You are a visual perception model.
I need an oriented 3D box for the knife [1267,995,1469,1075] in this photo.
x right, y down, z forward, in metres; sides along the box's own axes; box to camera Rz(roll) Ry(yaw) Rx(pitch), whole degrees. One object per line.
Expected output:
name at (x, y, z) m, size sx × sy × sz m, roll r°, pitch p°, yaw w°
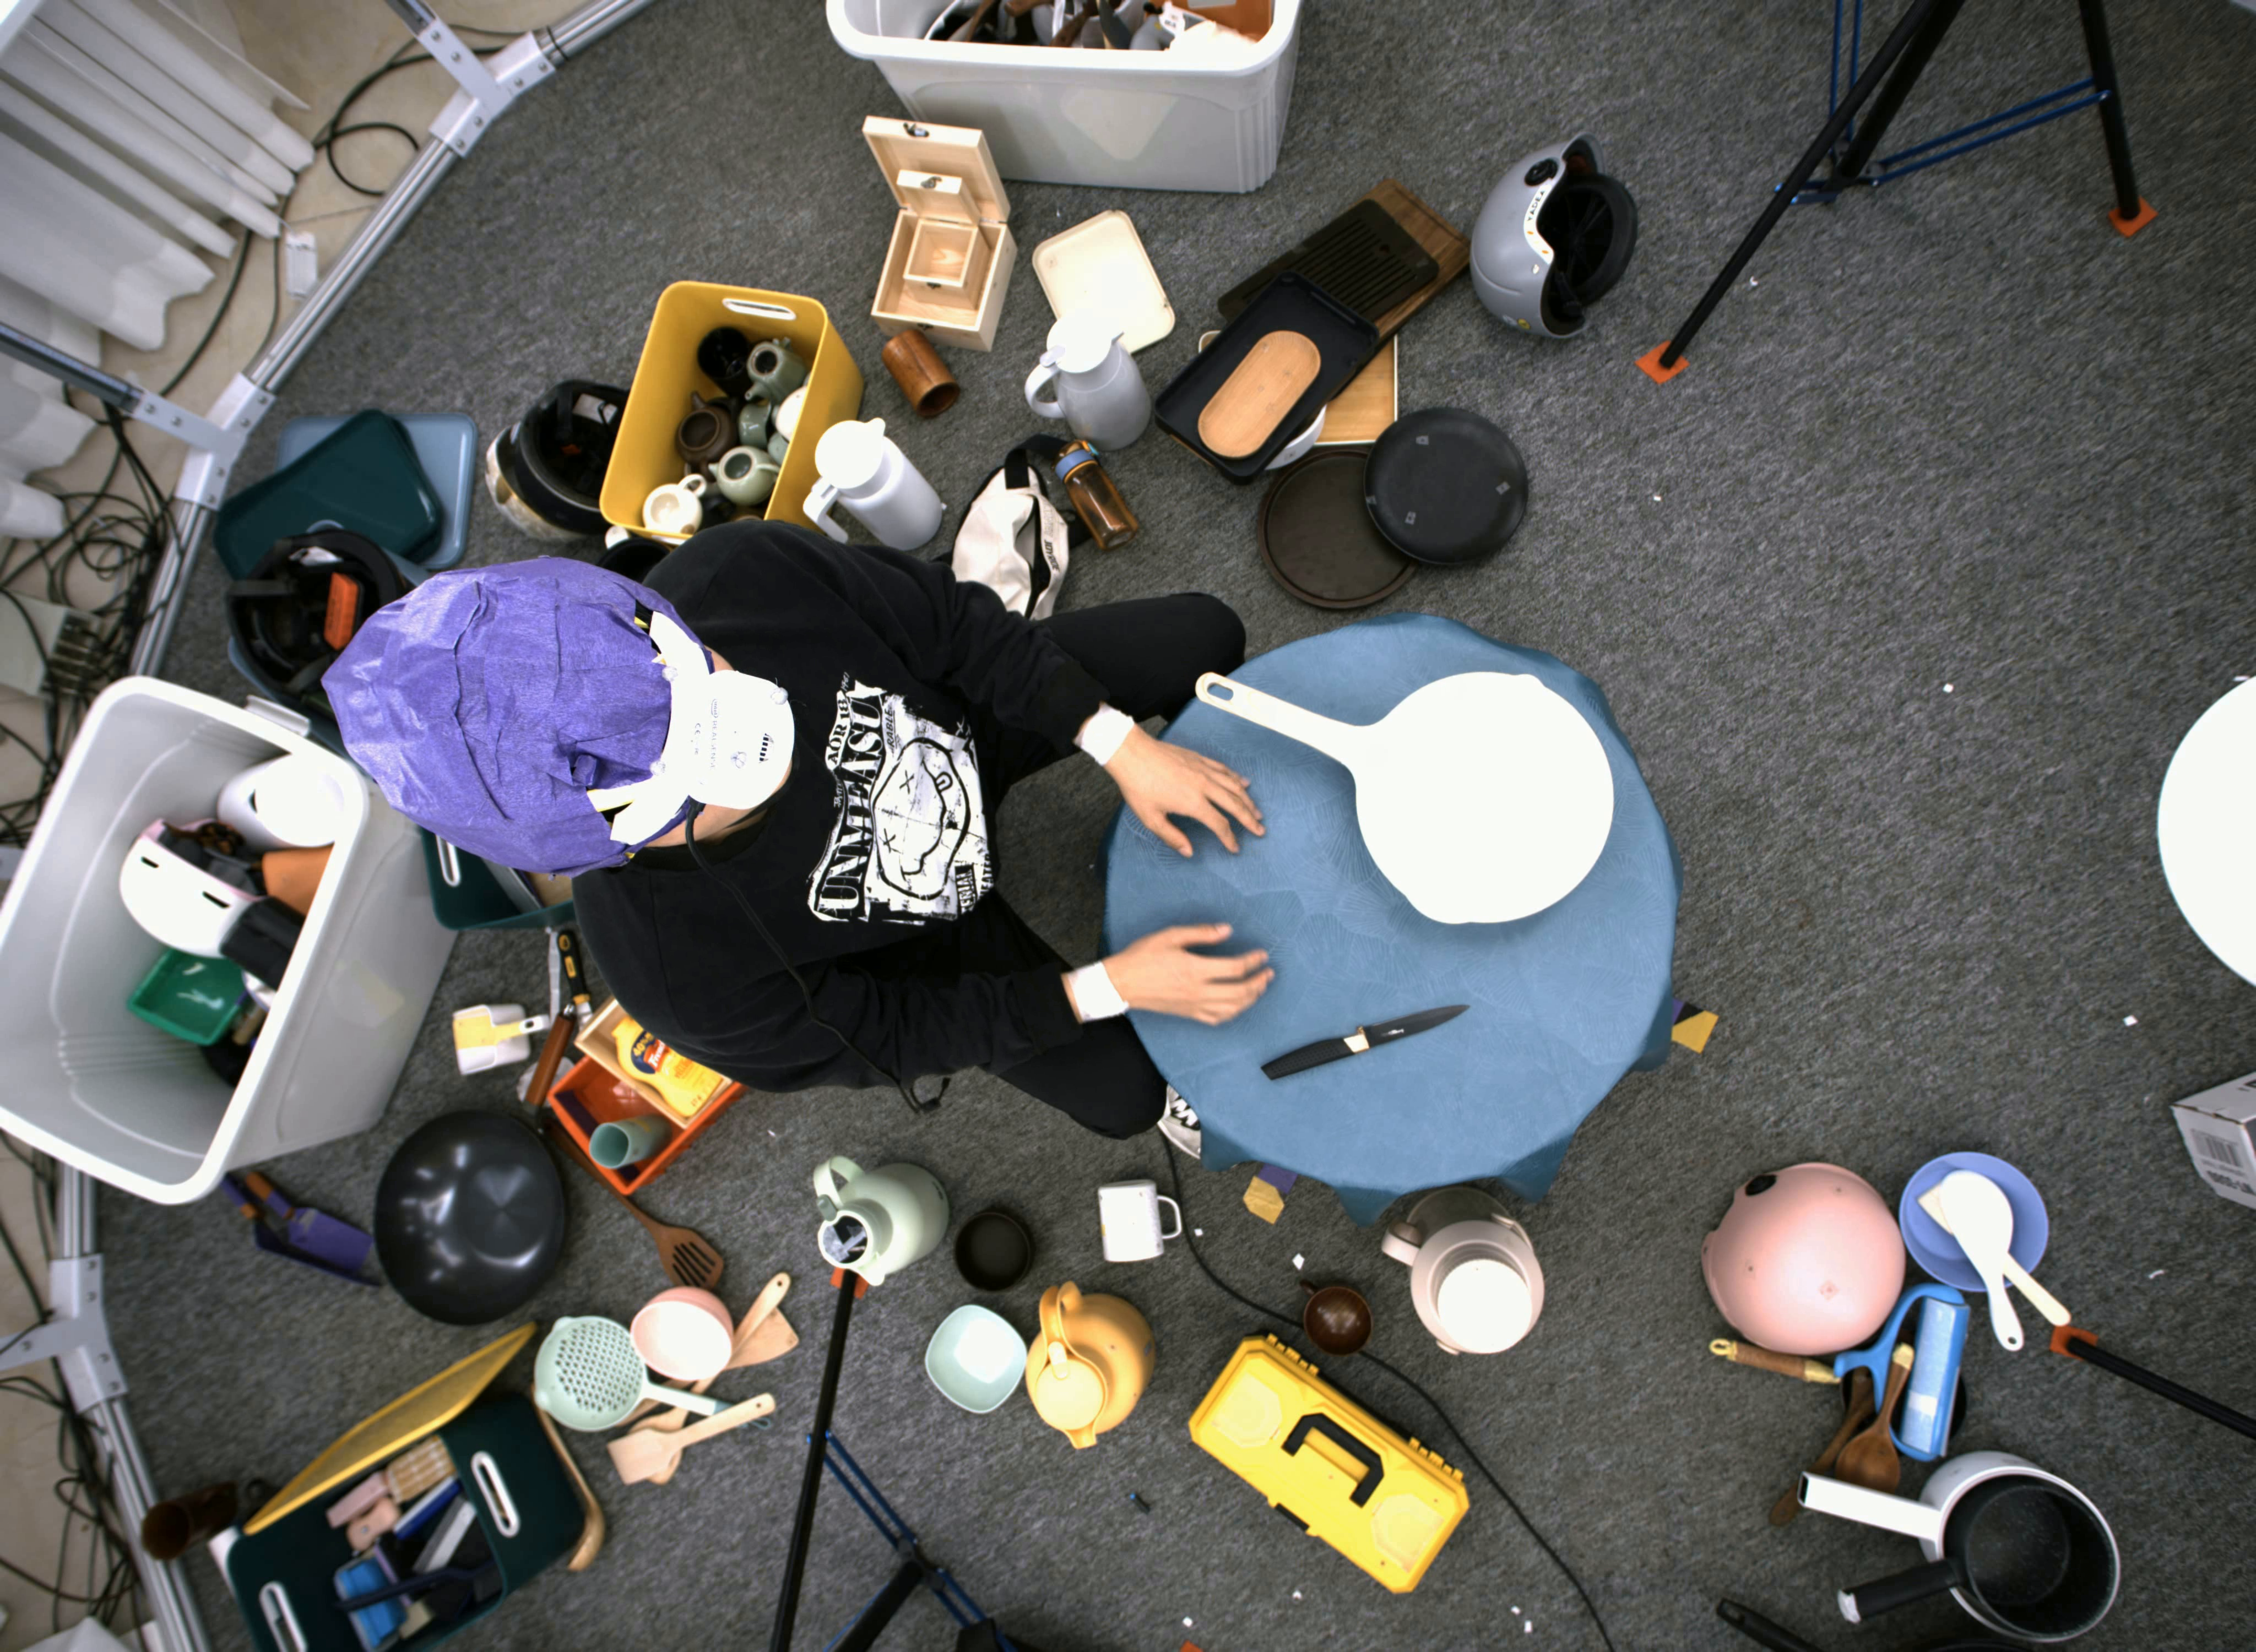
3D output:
knife at (0.252, 0.219, 1.453) m, size 0.227 × 0.017 × 0.026 m, roll -19°, pitch 67°, yaw 8°

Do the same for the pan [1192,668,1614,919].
pan at (0.276, -0.065, 1.417) m, size 0.435 × 0.102 × 0.264 m, roll 21°, pitch 93°, yaw 11°
